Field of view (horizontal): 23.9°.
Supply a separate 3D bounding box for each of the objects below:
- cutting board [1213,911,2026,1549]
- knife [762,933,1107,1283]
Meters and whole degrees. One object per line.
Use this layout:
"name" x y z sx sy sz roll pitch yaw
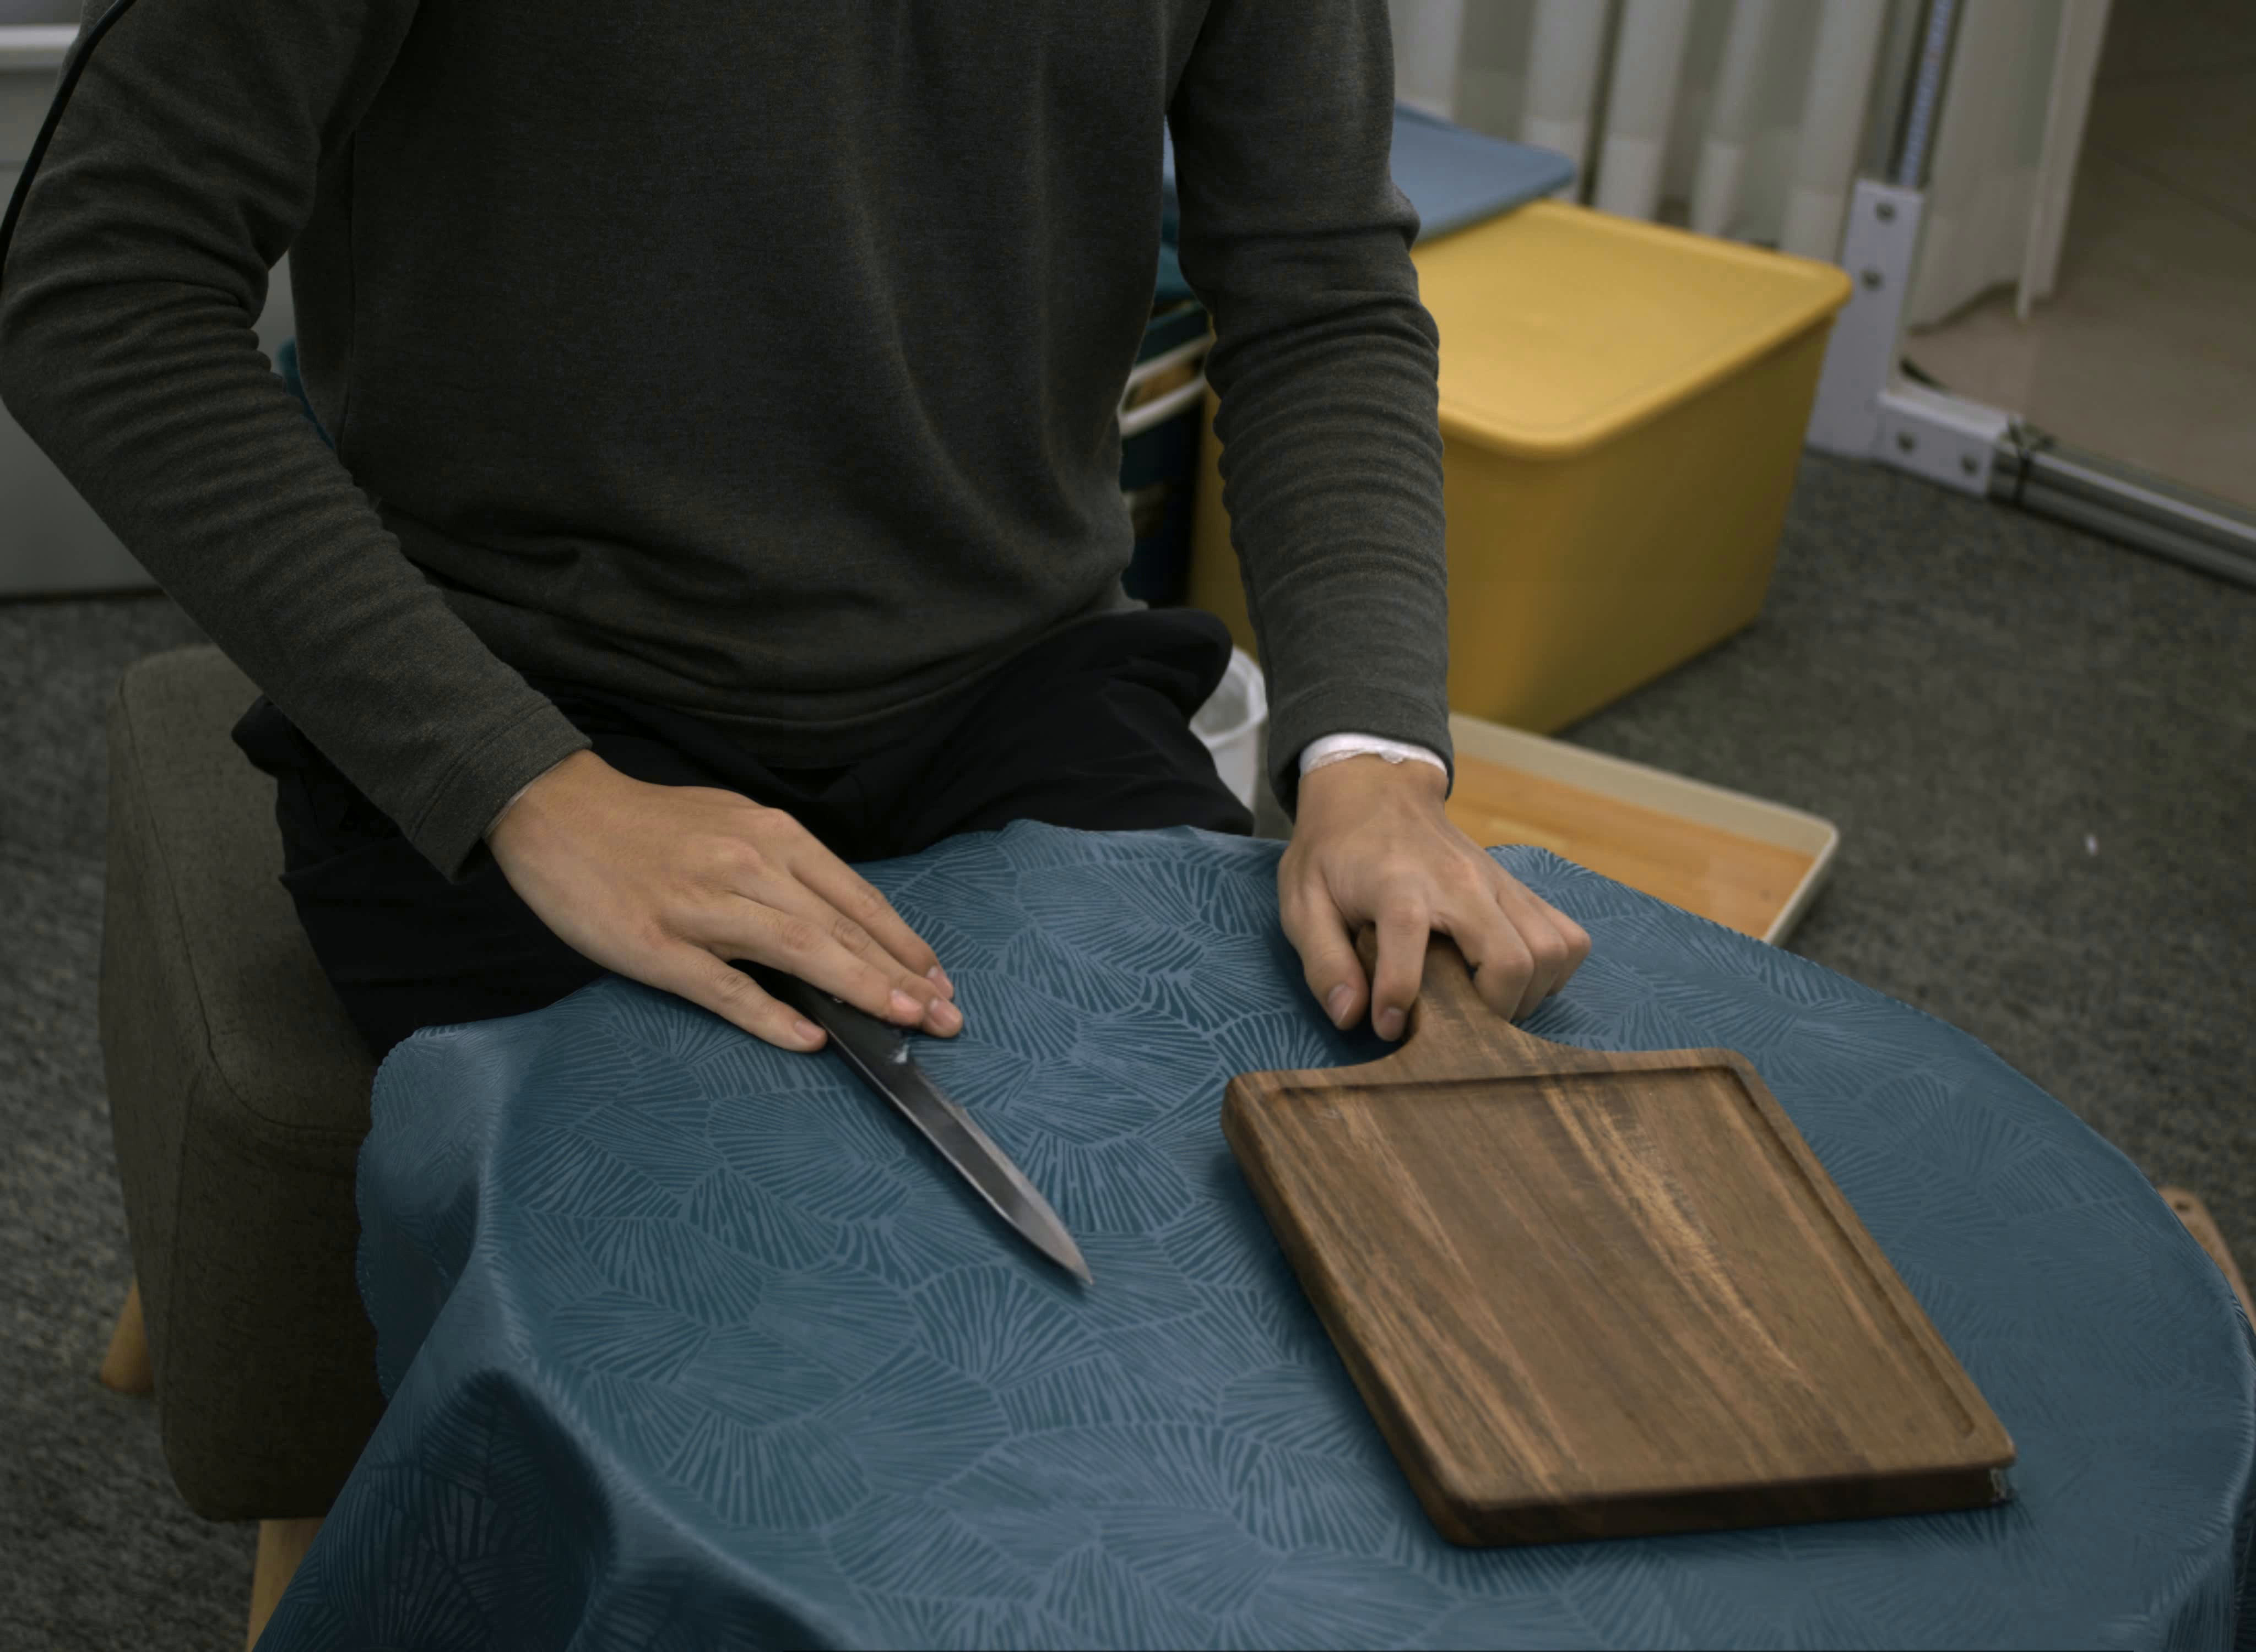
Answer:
"cutting board" 0.143 0.125 1.798 0.200 0.023 0.355 -2 30 -17
"knife" -0.069 0.097 1.828 0.024 0.016 0.240 -6 29 -31
